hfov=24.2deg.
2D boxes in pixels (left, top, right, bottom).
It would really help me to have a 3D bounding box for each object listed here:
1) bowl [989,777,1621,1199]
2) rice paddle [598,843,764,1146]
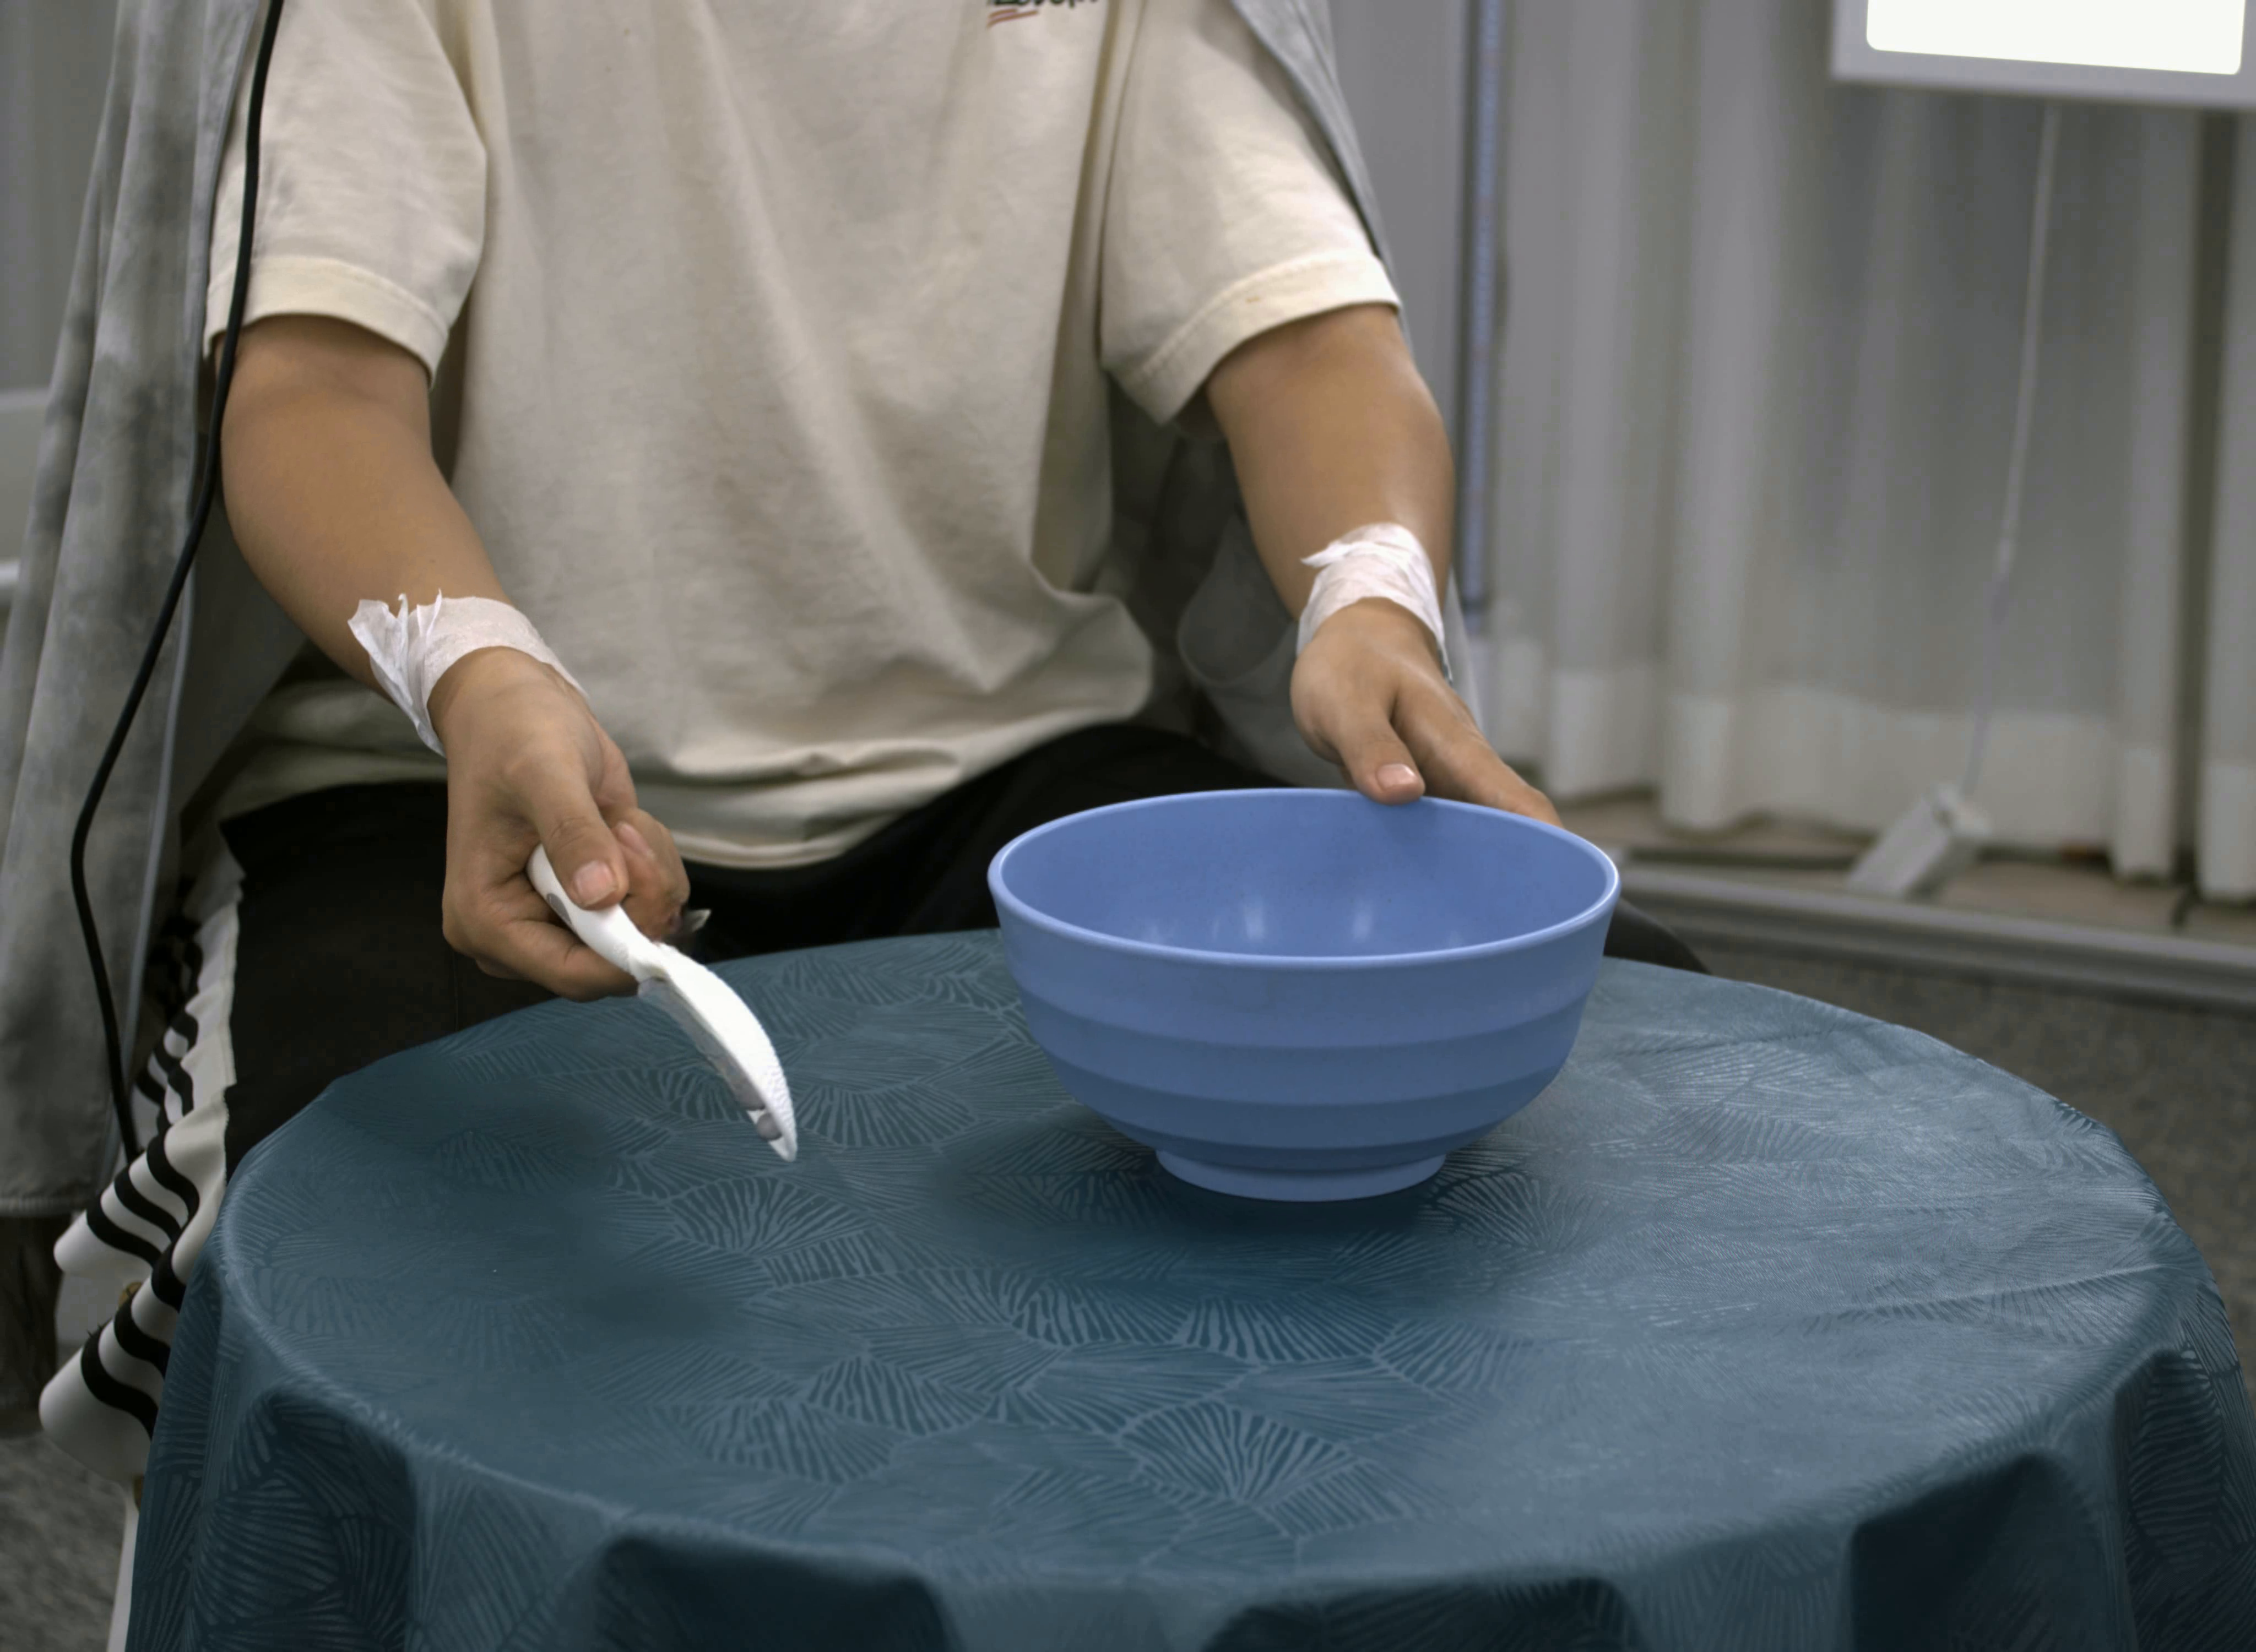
[{"bbox_3d":[0.055,0.056,1.647,0.196,0.096,0.195,0,18,0],"label":"bowl"},{"bbox_3d":[-0.132,0.044,1.555,0.029,0.069,0.203,-21,17,-6],"label":"rice paddle"}]
